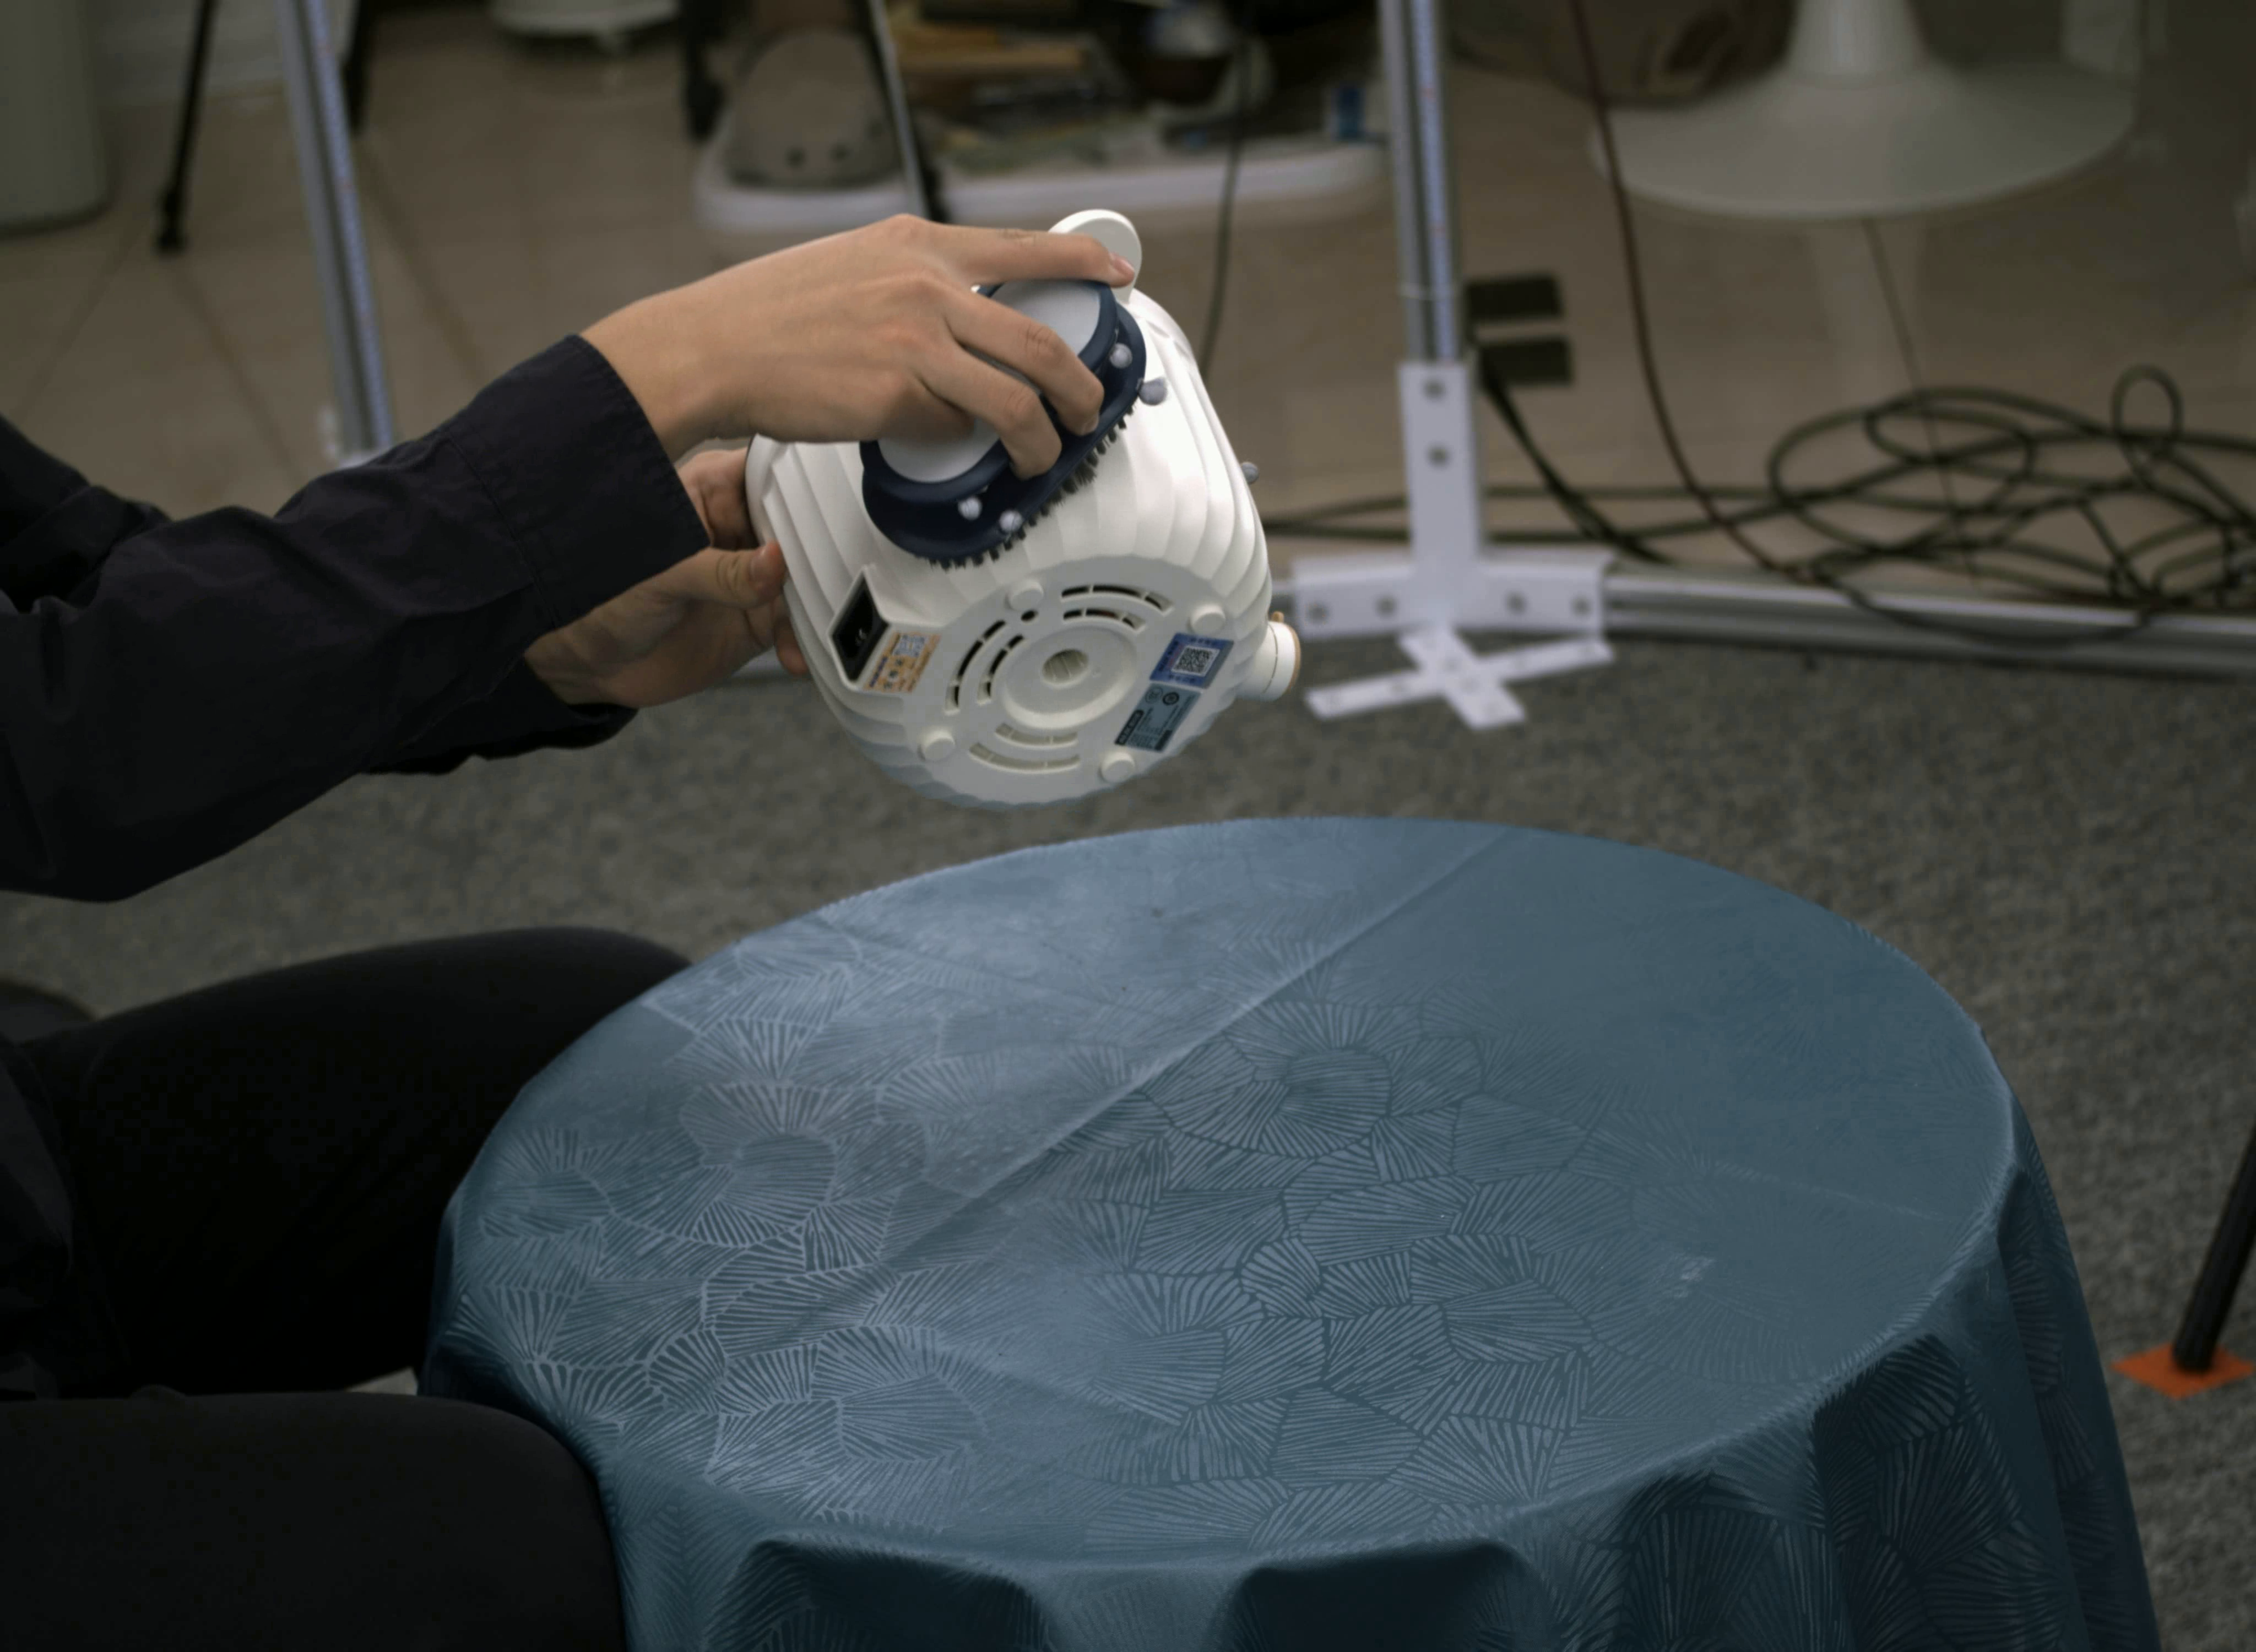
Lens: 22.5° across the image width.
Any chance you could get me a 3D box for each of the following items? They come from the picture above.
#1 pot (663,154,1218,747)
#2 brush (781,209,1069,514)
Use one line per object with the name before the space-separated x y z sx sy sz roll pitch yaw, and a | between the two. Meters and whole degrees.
pot | -0.066 -0.124 2.155 0.190 0.244 0.140 4 47 -34
brush | -0.073 -0.165 2.024 0.121 0.062 0.067 -43 67 -14
